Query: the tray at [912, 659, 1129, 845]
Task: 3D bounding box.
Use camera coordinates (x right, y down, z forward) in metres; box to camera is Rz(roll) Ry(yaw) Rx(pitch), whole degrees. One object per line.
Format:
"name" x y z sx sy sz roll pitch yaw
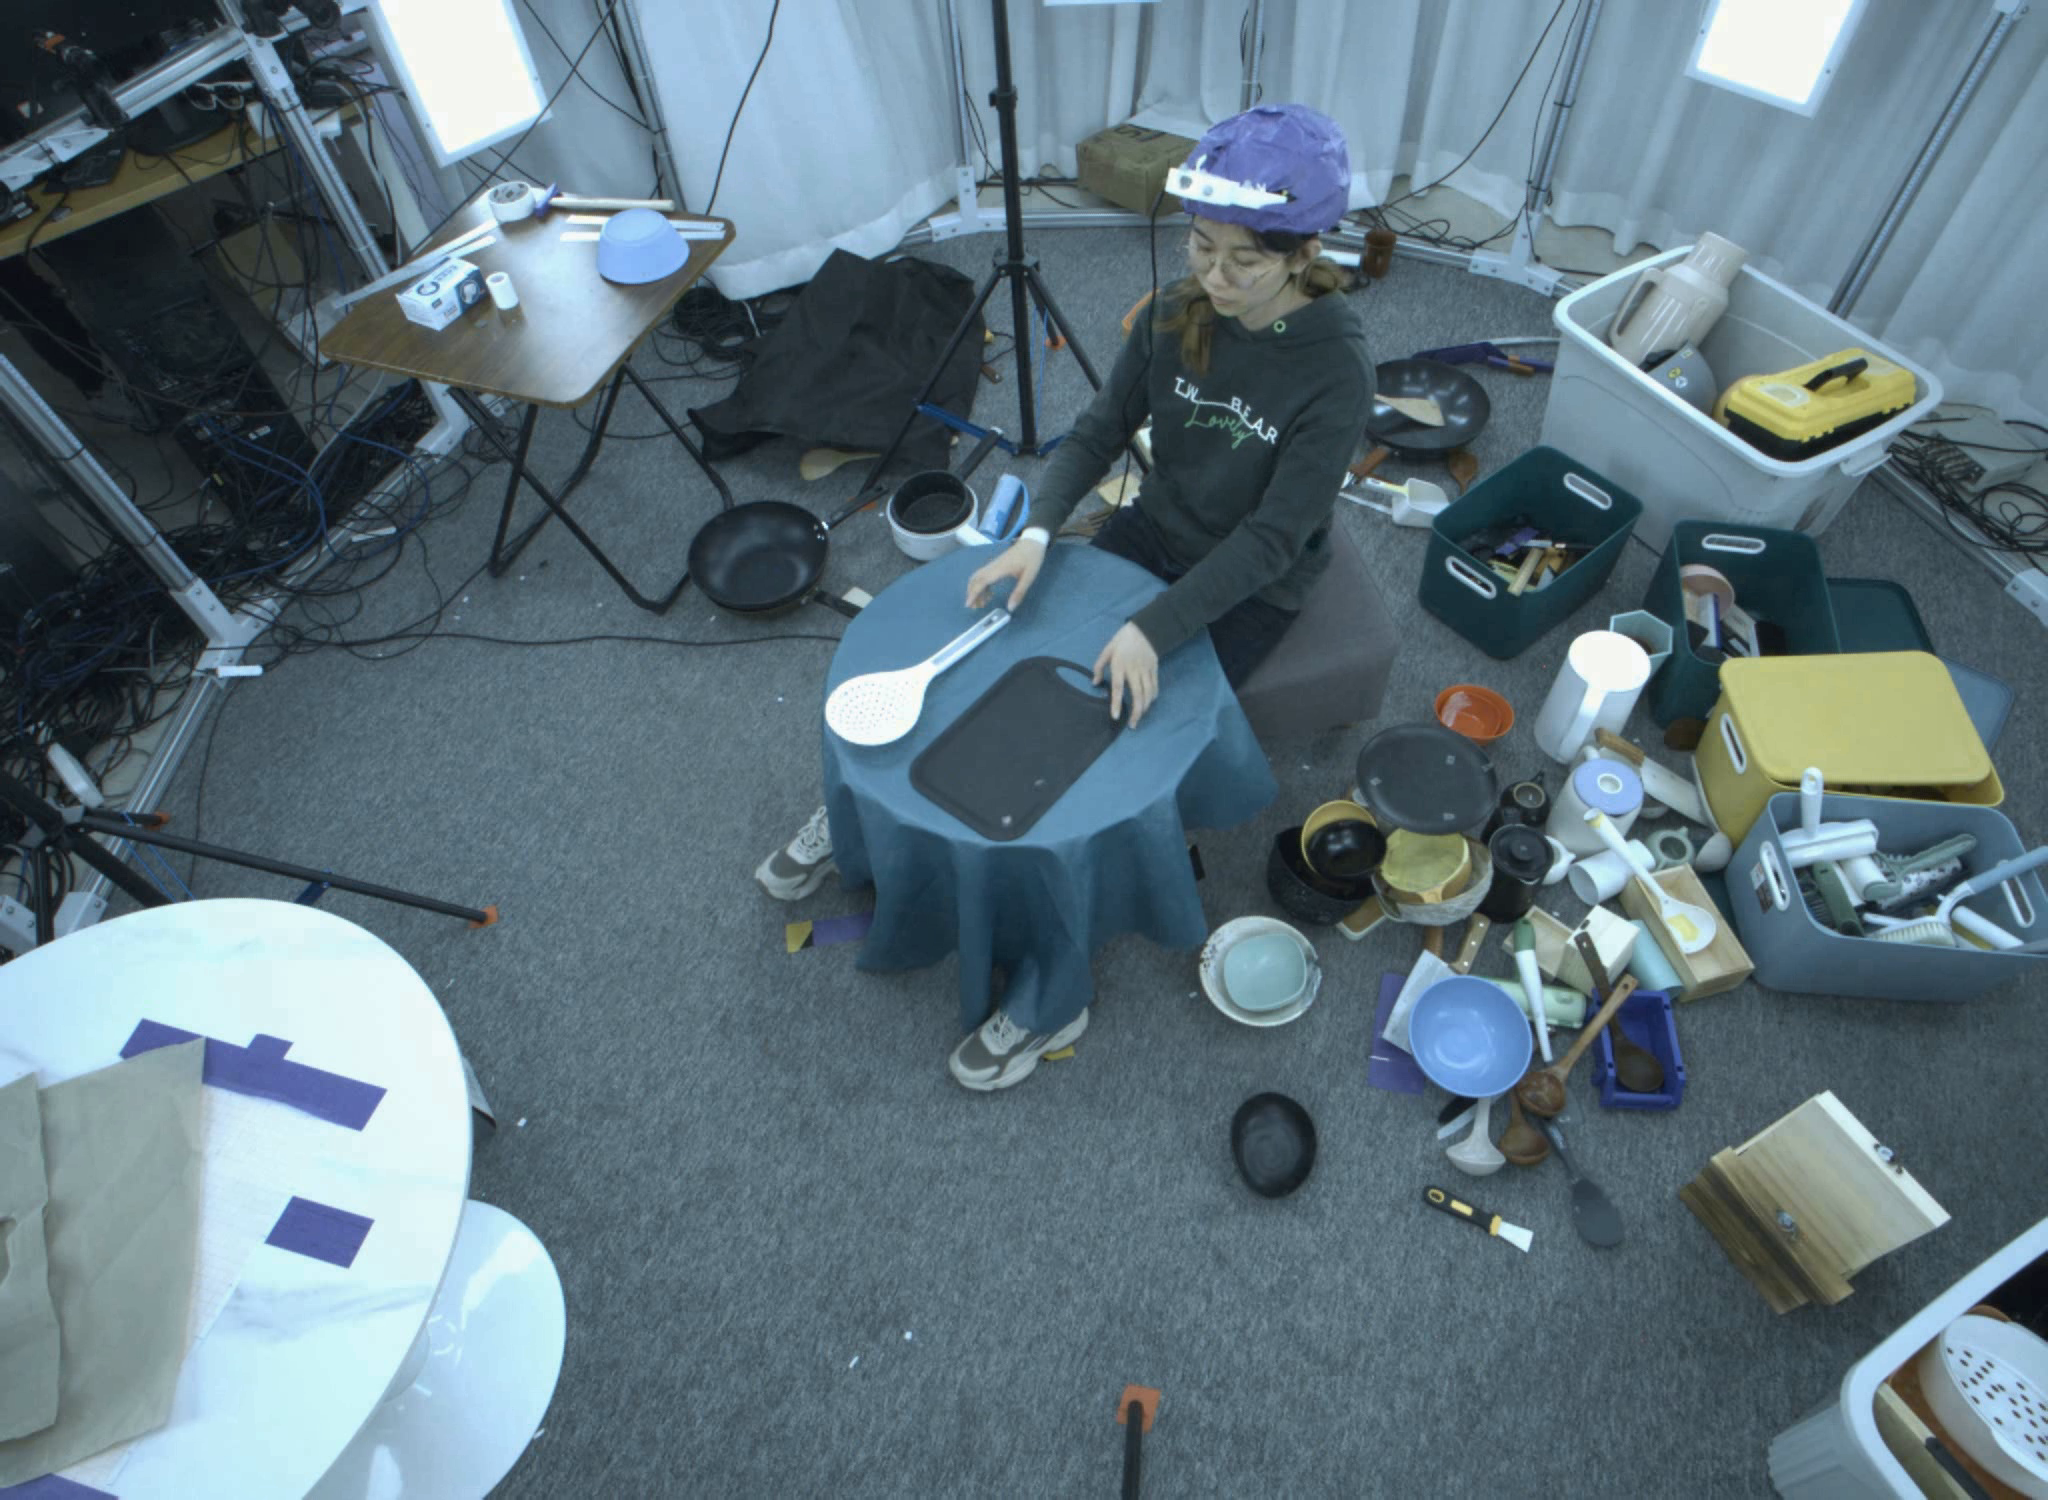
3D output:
"tray" 0.002 -0.011 1.801 0.207 0.010 0.327 34 62 22

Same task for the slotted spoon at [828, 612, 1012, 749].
"slotted spoon" -0.146 -0.113 1.853 0.134 0.046 0.352 37 63 22
